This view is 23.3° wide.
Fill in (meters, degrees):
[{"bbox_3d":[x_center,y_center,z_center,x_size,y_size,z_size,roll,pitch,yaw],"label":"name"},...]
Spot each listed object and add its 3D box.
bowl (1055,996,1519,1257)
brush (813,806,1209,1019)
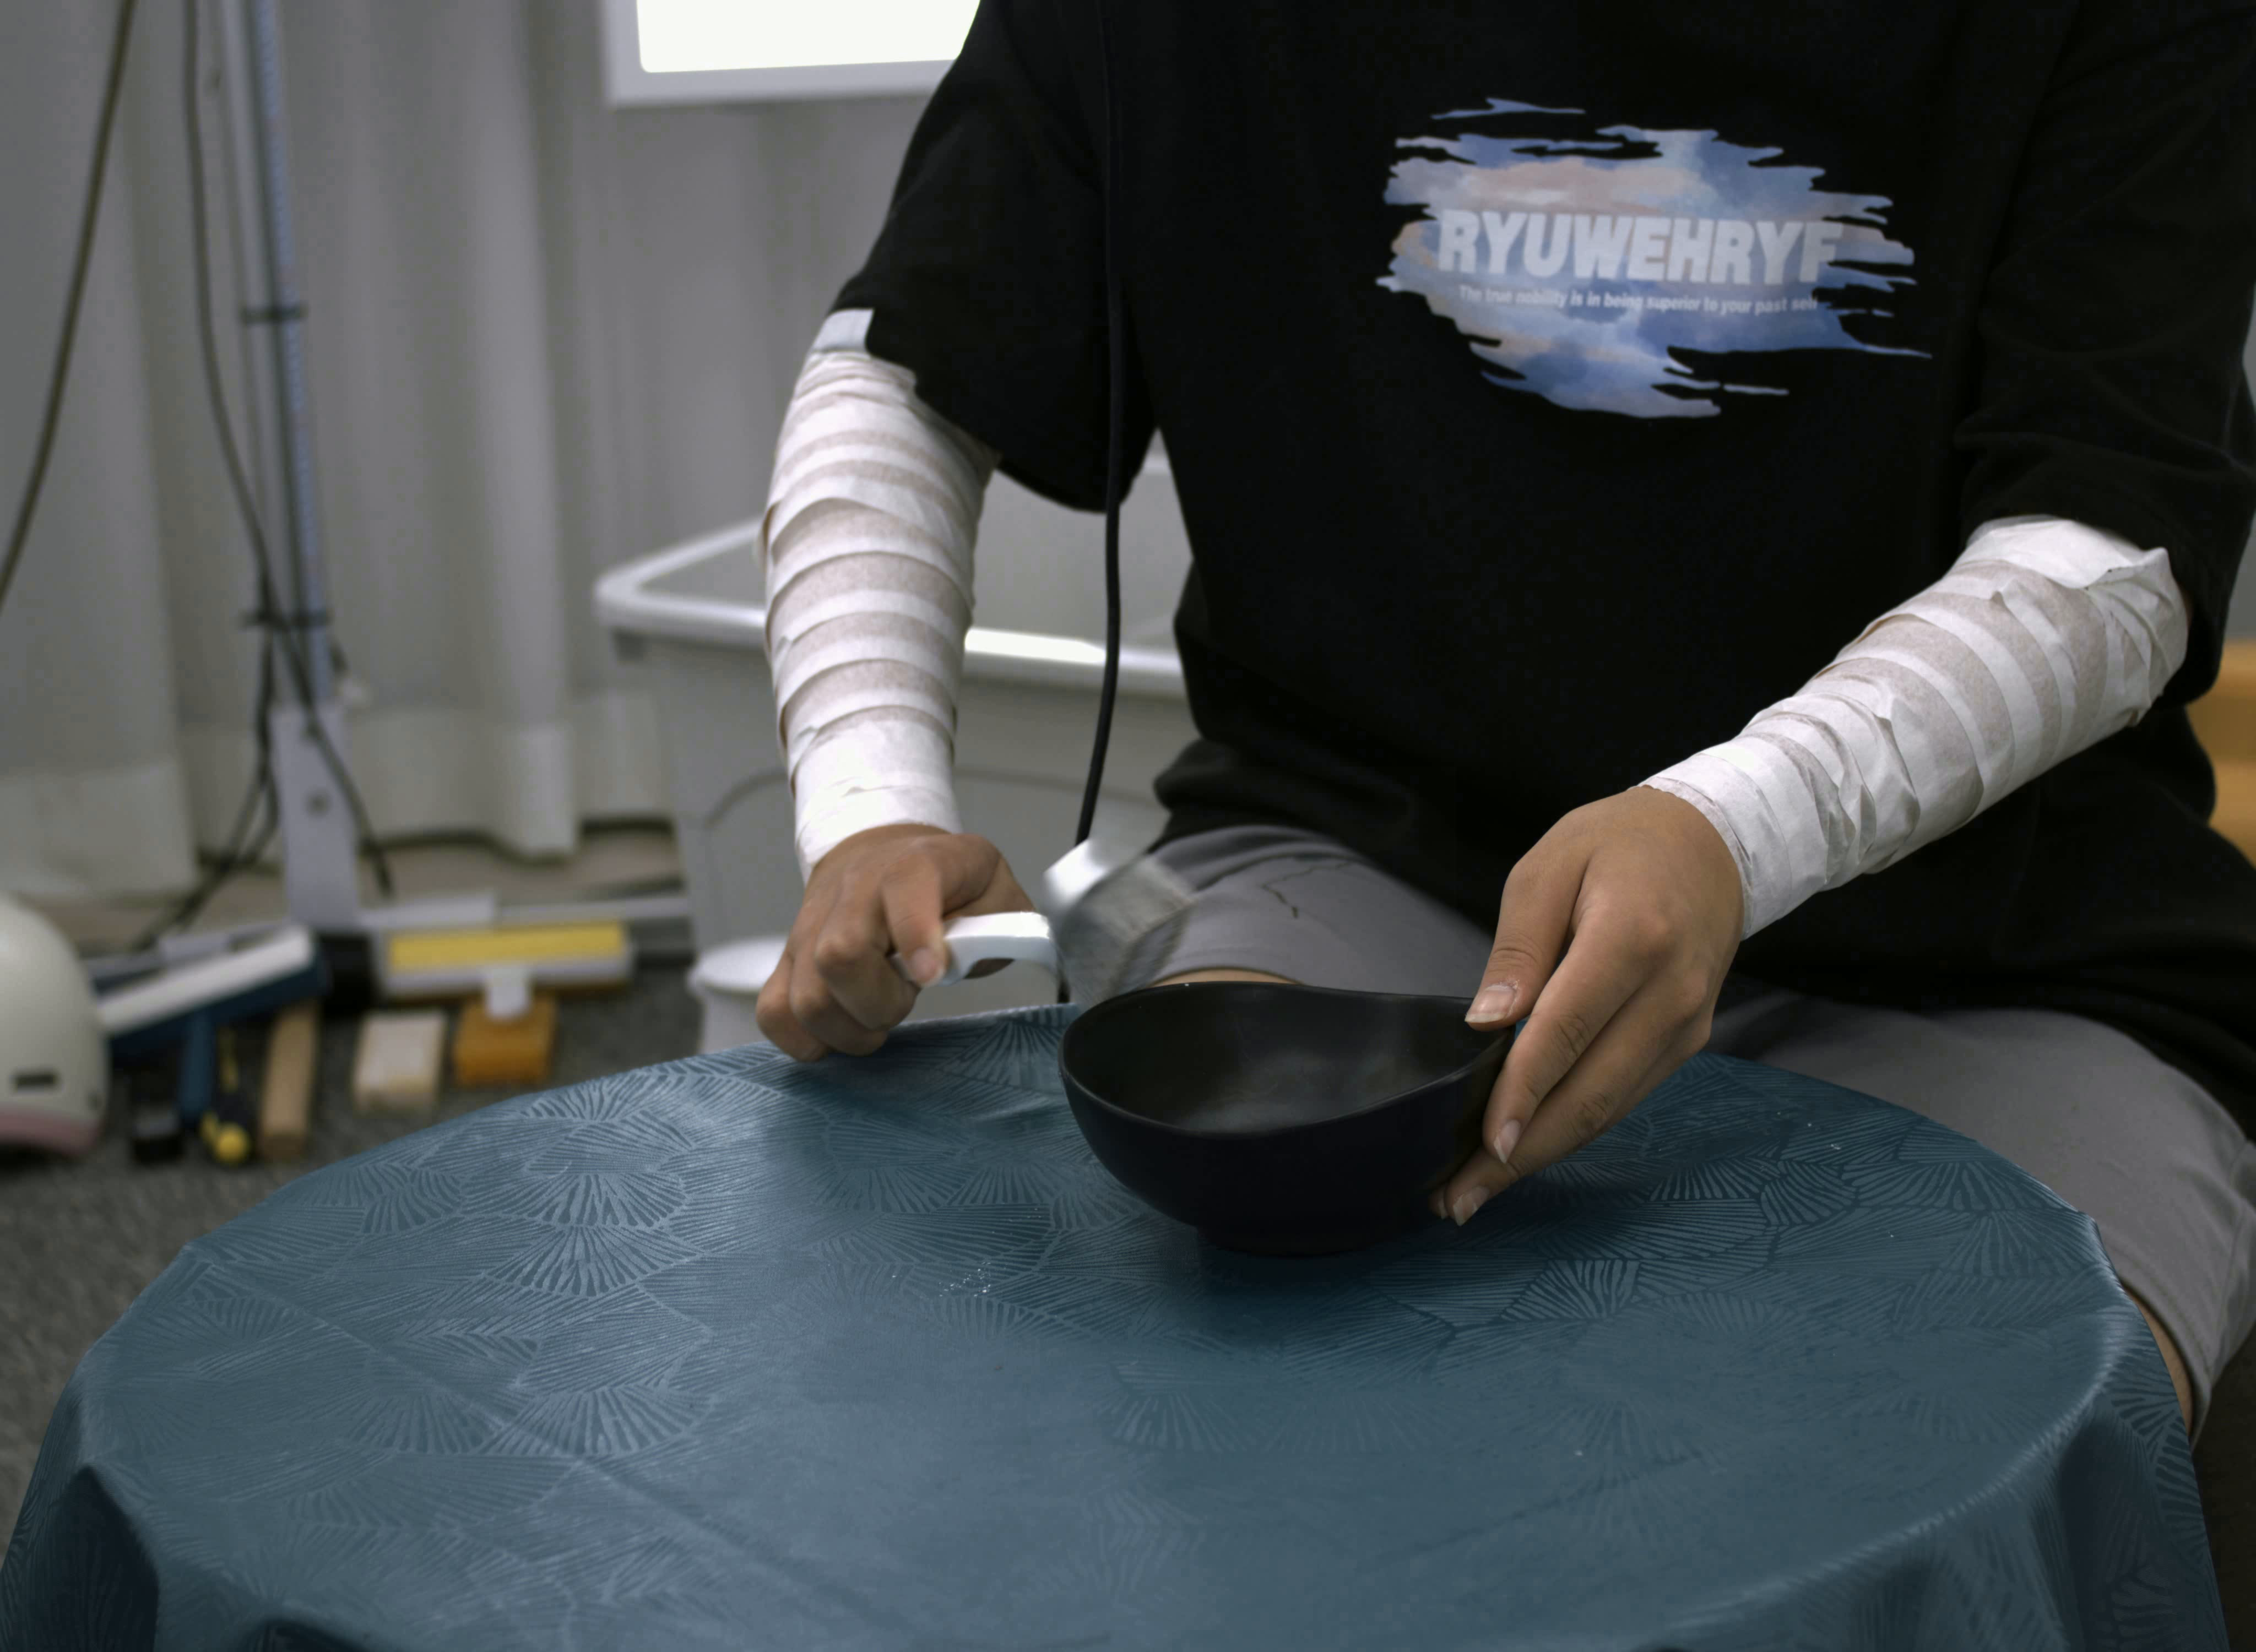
[{"bbox_3d":[0.050,0.092,1.667,0.137,0.066,0.170,3,13,21],"label":"bowl"},{"bbox_3d":[-0.039,0.046,1.778,0.034,0.050,0.243,-37,3,-29],"label":"brush"}]
